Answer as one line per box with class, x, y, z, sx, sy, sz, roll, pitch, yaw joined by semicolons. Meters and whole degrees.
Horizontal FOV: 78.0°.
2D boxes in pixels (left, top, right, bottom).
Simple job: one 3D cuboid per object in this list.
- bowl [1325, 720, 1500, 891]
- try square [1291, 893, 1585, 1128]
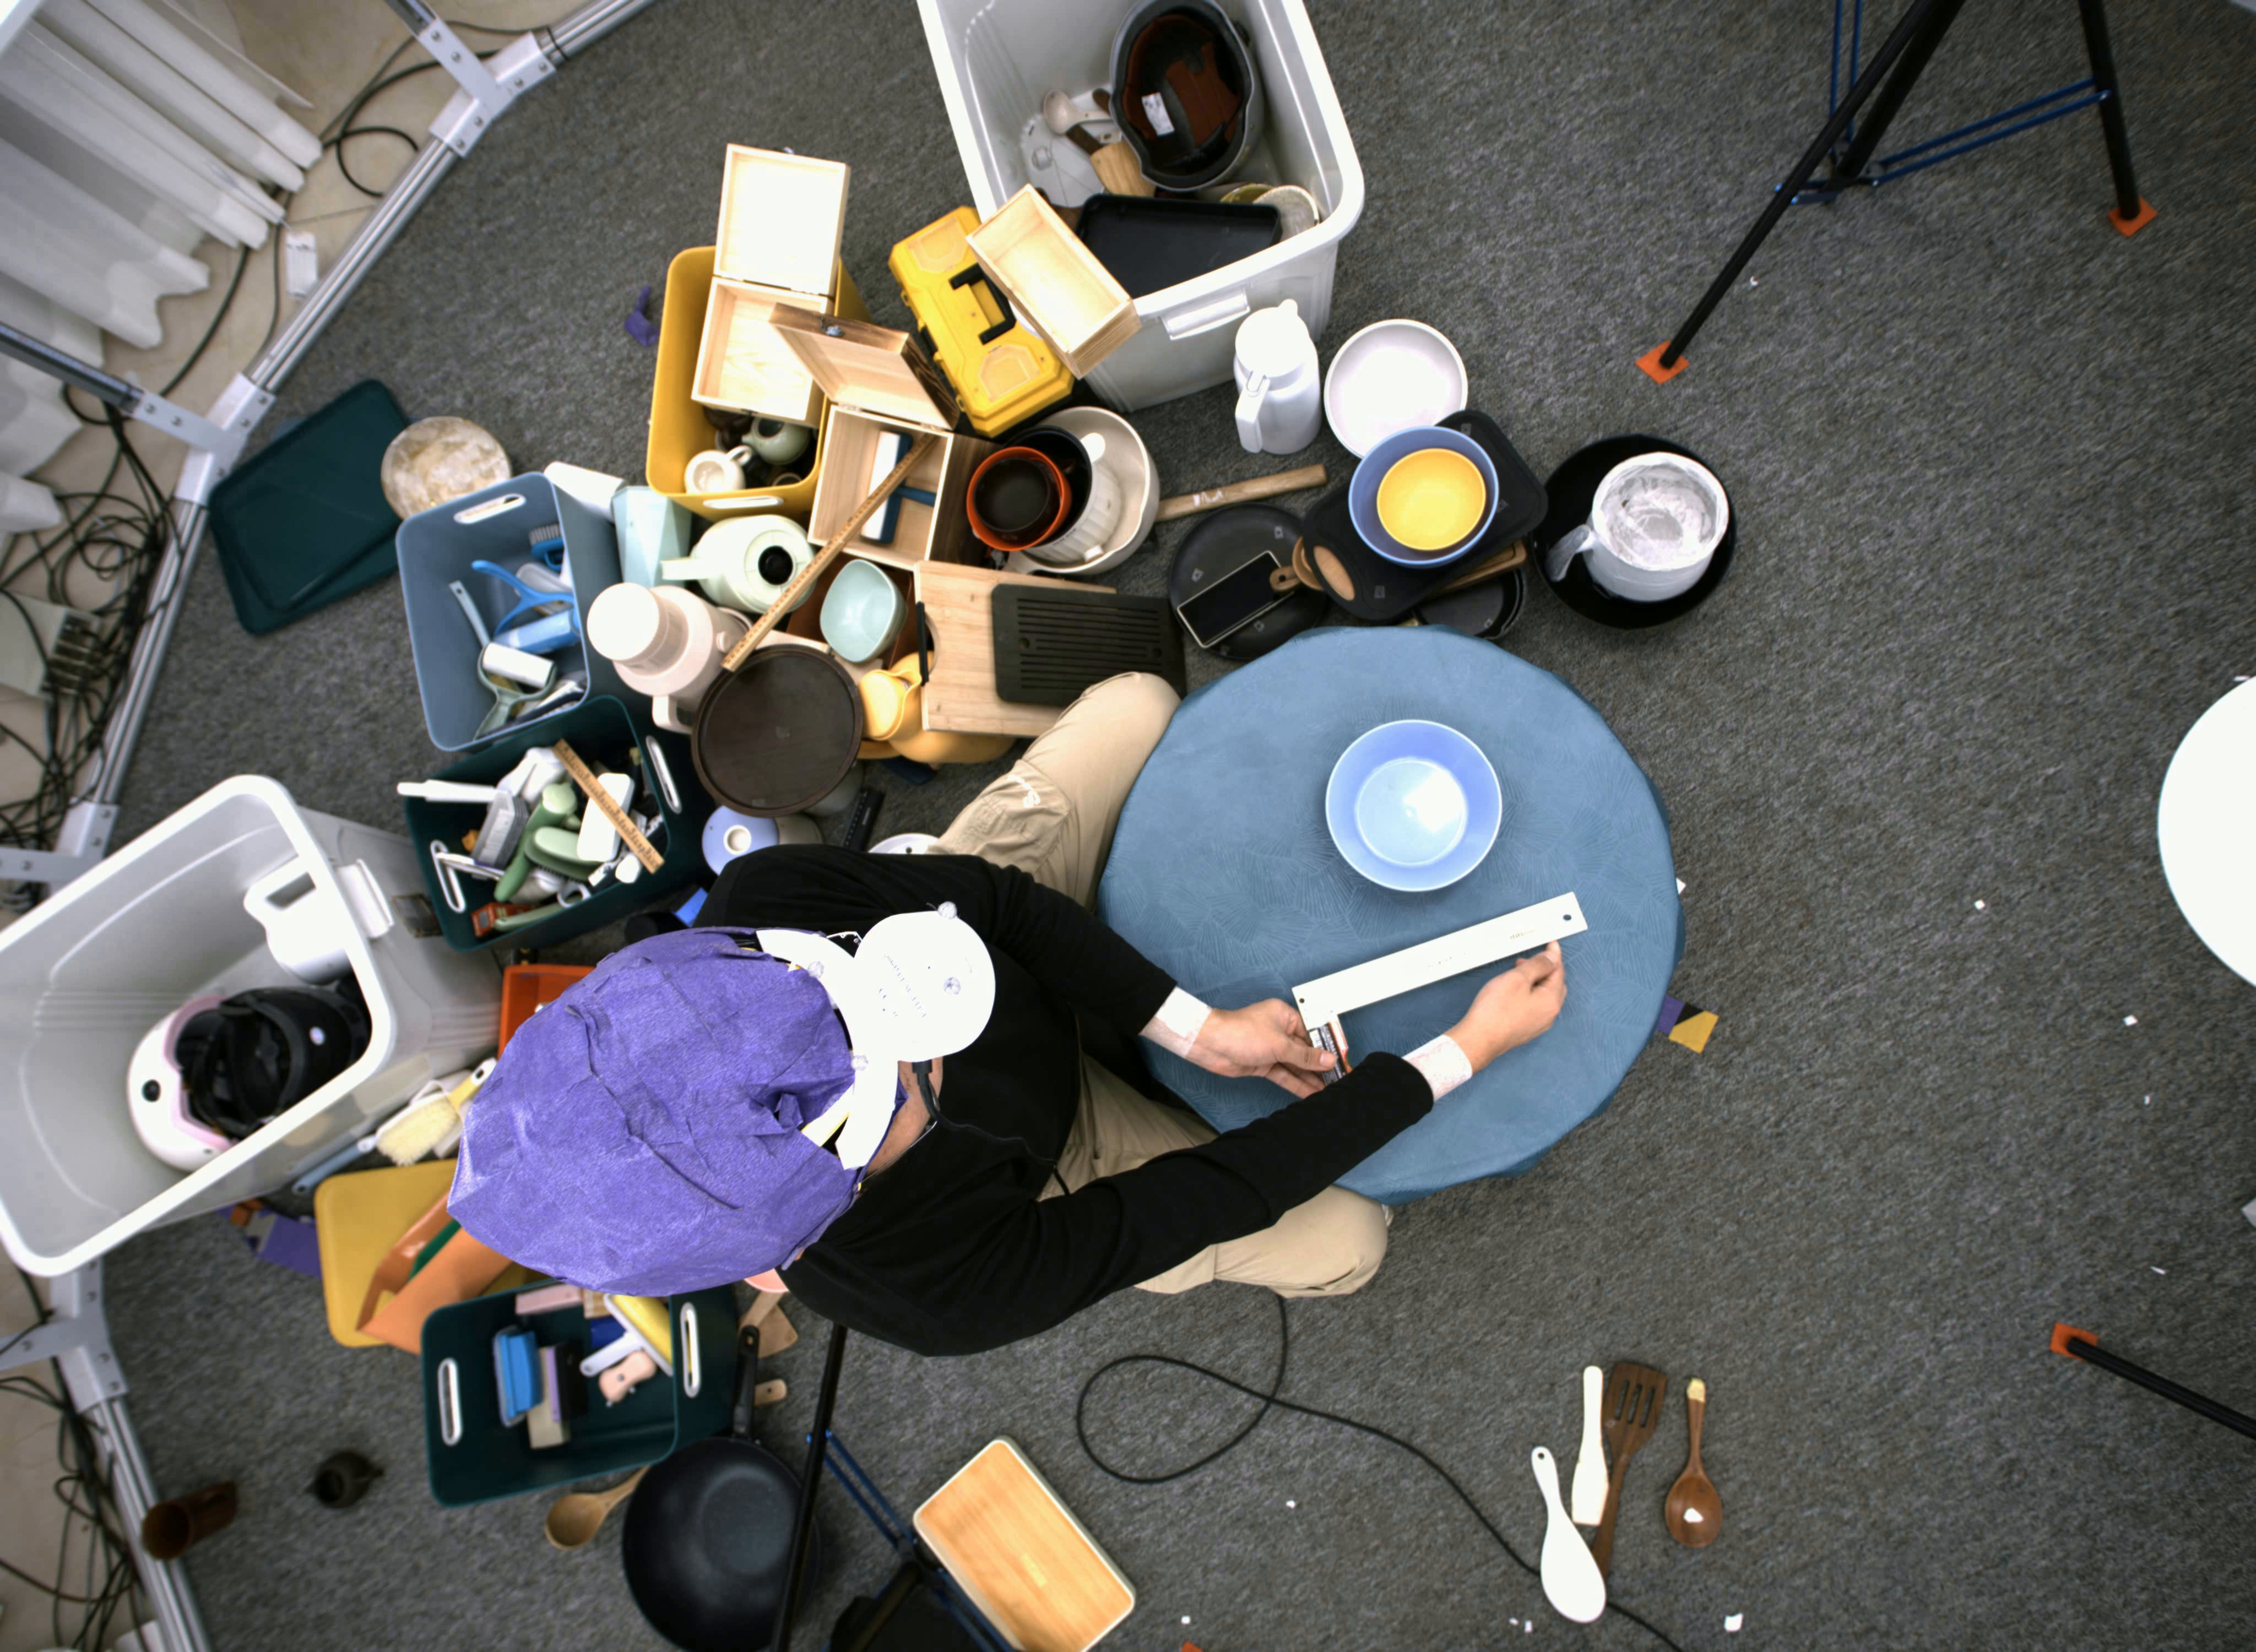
bowl;0.292;-0.019;1.426;0.177;0.070;0.175;-1;87;10
try square;0.336;0.187;1.417;0.313;0.016;0.151;-19;81;2
